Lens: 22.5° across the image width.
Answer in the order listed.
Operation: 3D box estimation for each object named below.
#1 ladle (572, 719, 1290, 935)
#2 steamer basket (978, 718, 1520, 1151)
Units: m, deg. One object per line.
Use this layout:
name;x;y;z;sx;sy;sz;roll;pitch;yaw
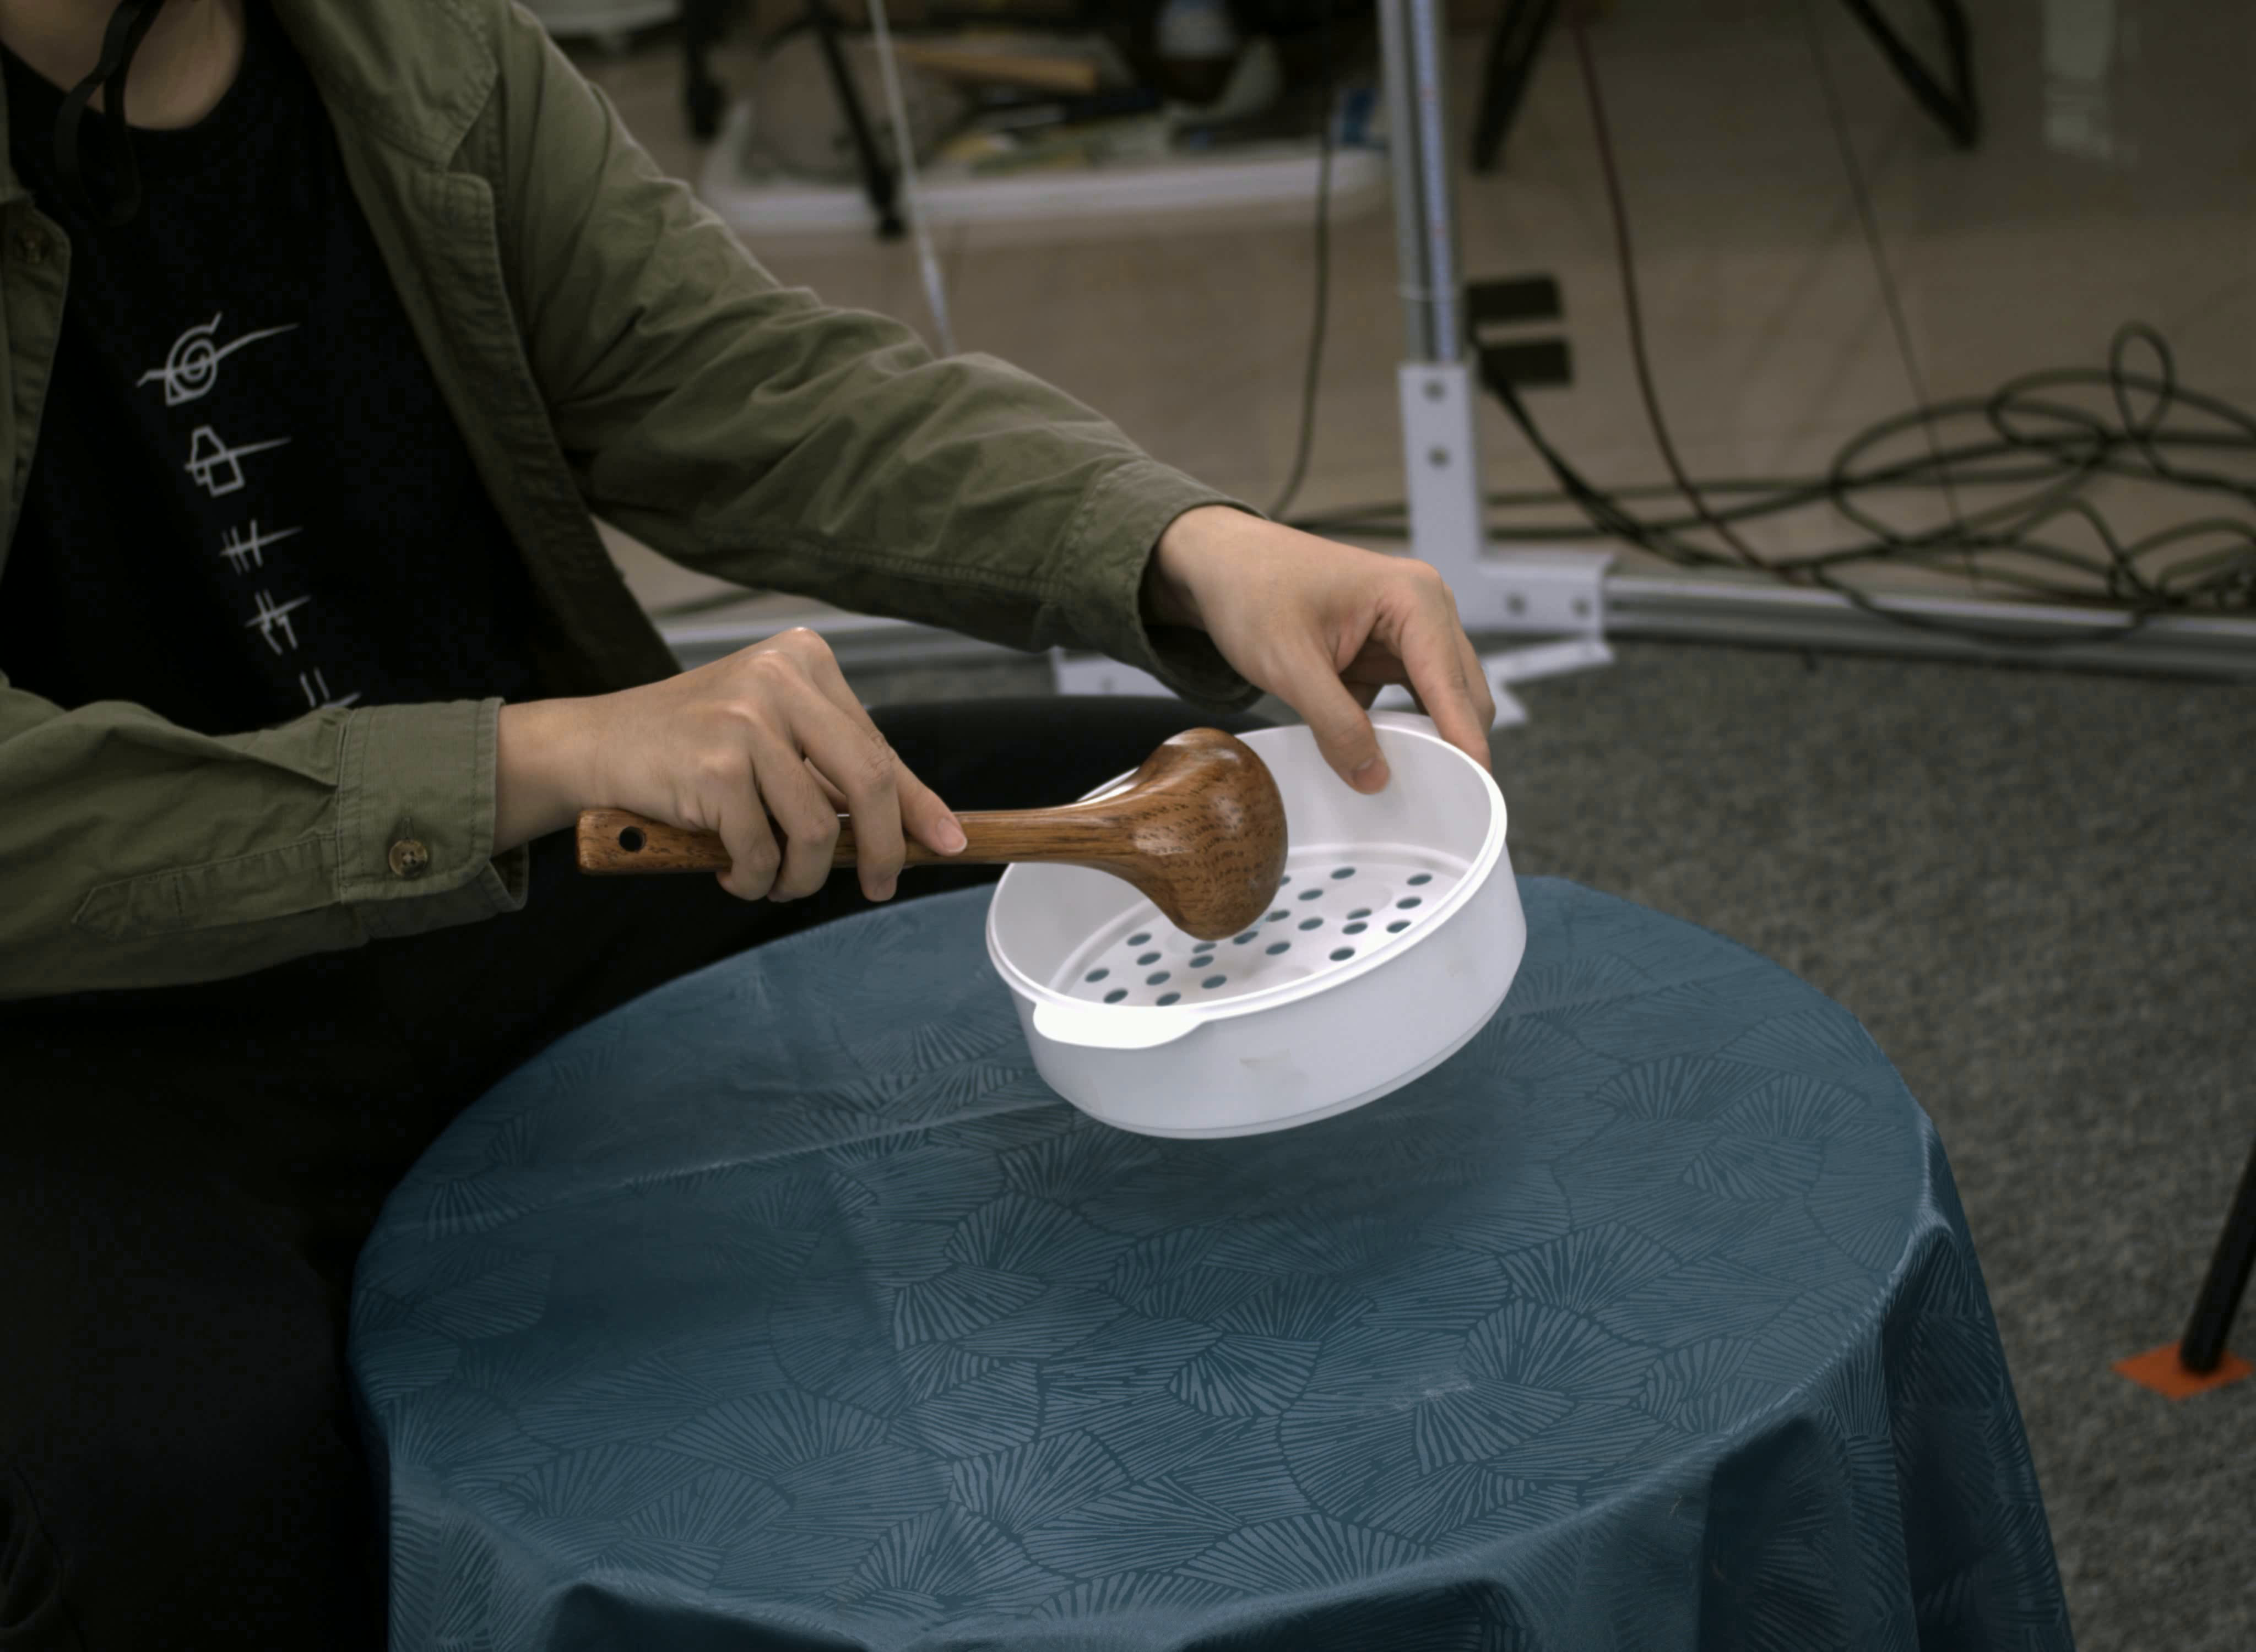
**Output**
ladle;-0.072;0.002;2.121;0.273;0.082;0.077;-1;-6;-8
steamer basket;0.048;0.043;2.129;0.201;0.070;0.227;6;37;34
